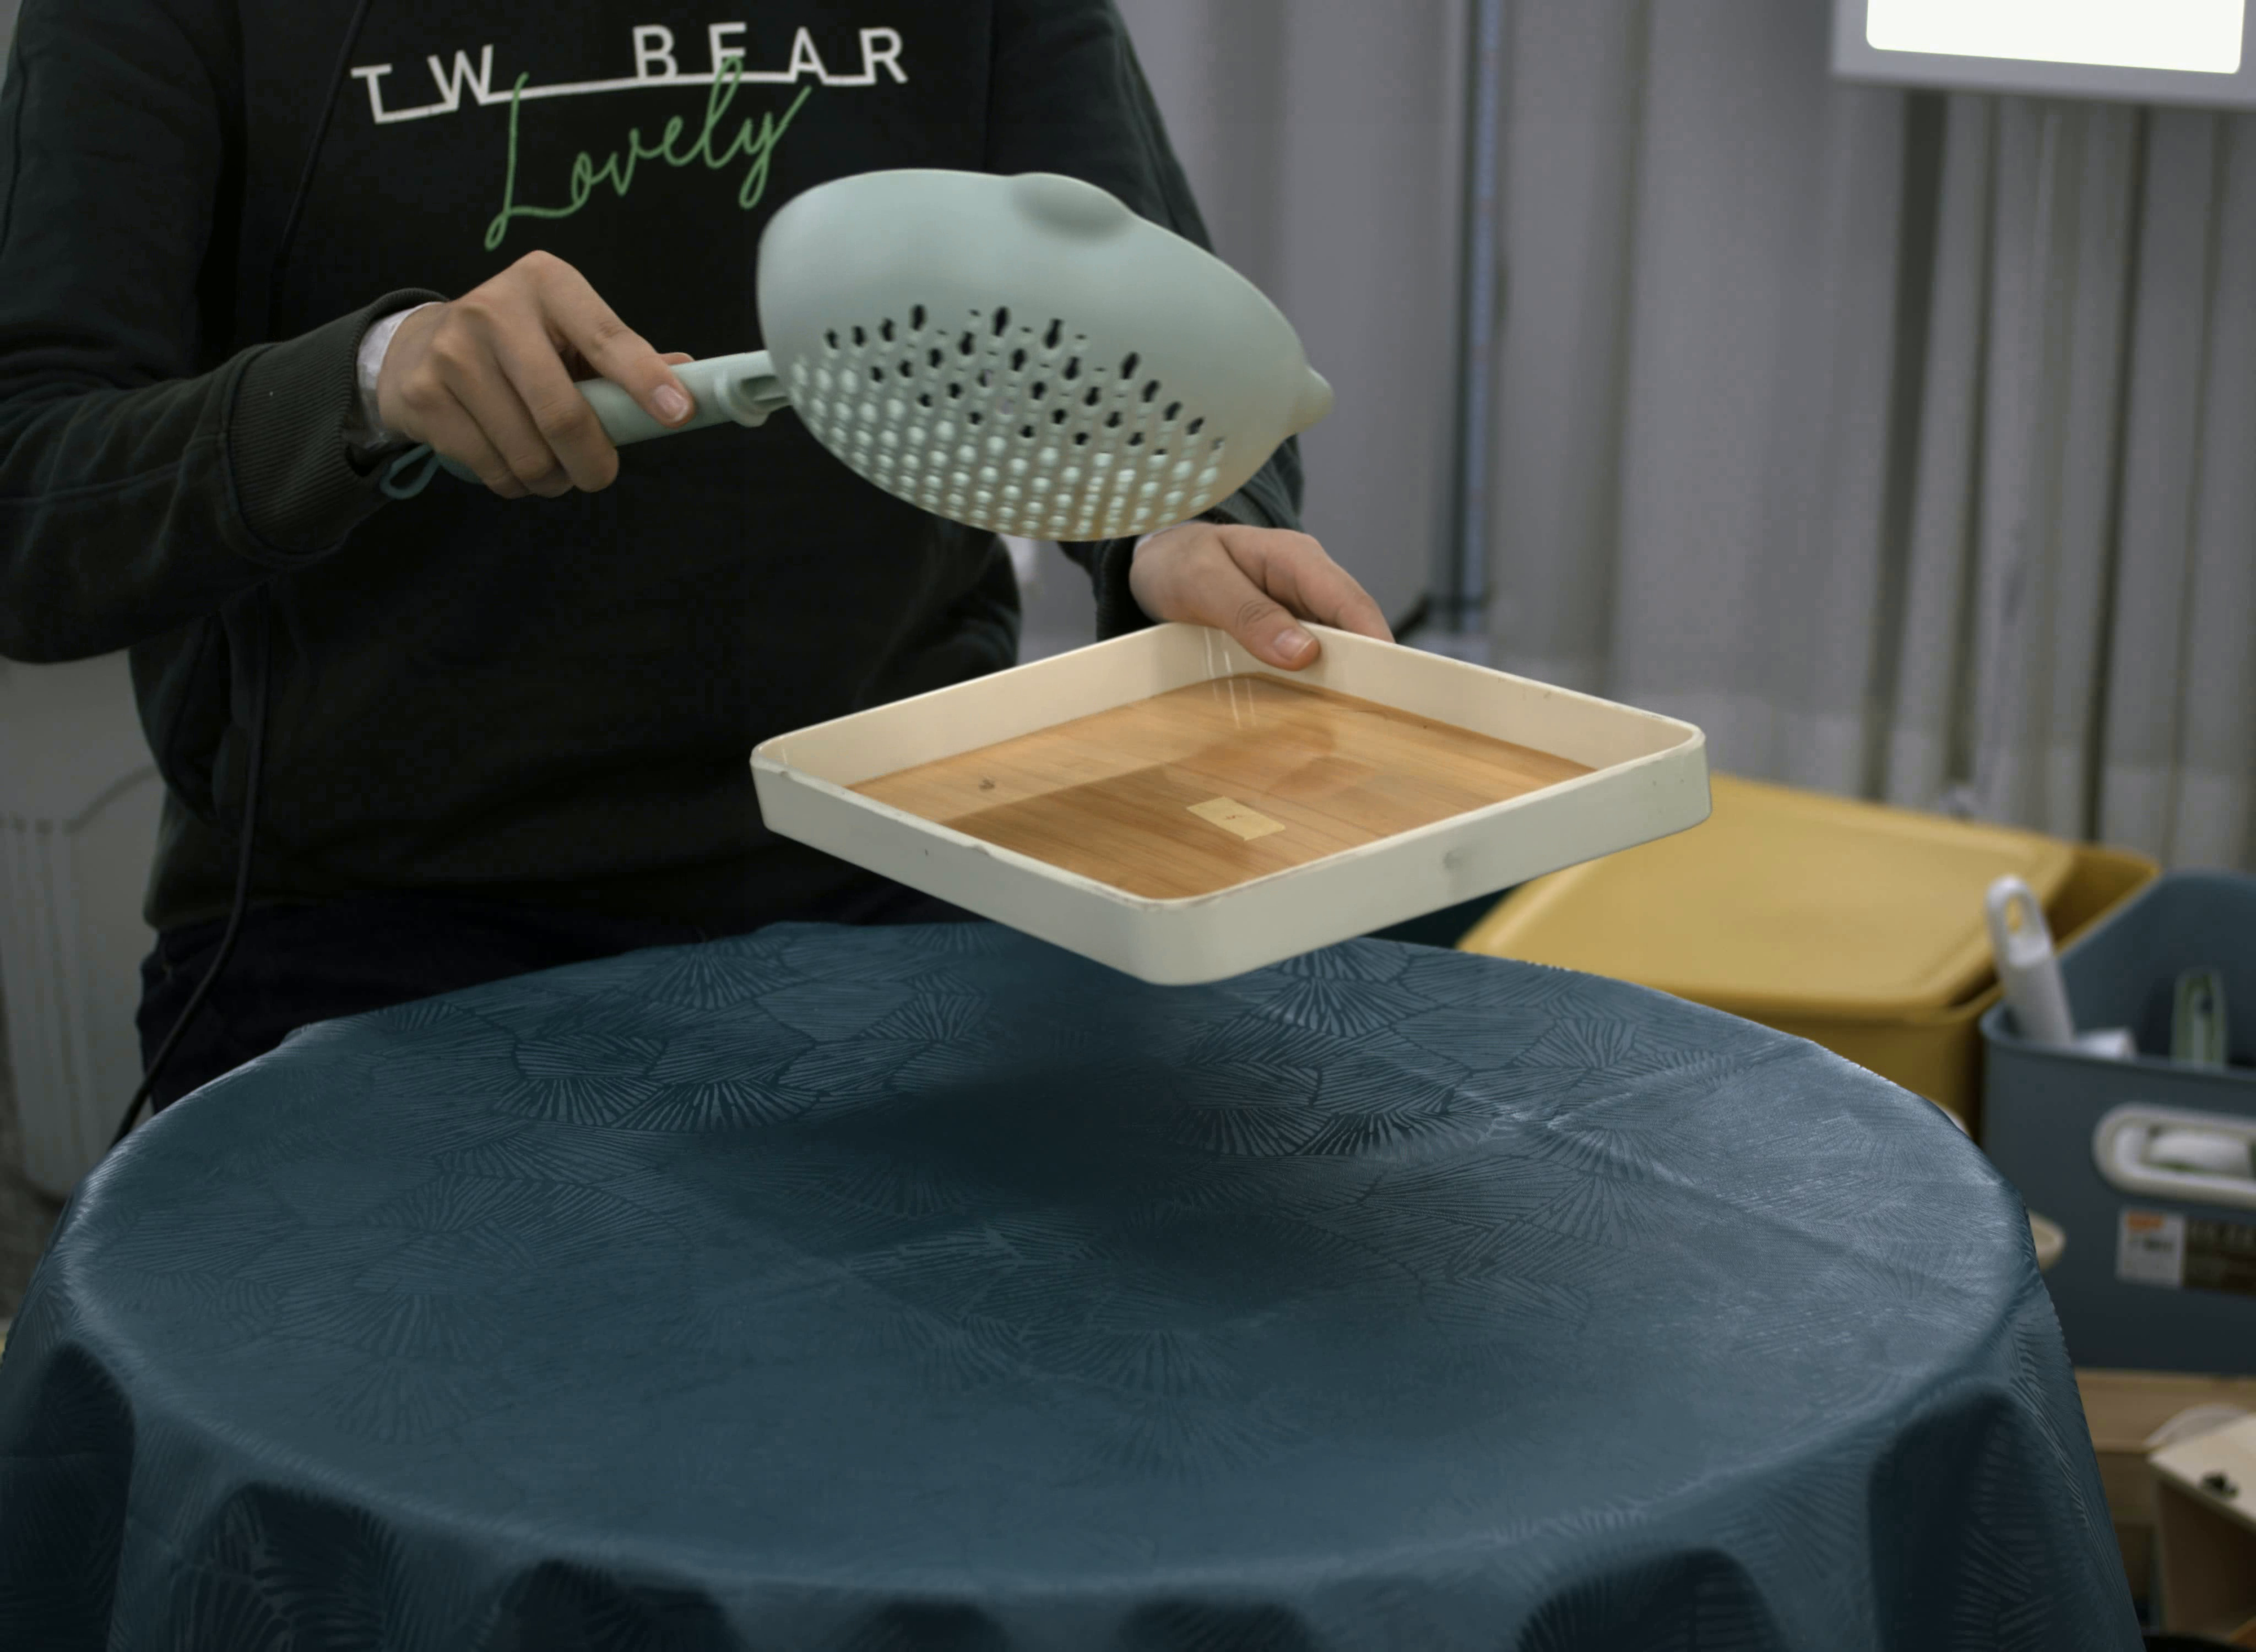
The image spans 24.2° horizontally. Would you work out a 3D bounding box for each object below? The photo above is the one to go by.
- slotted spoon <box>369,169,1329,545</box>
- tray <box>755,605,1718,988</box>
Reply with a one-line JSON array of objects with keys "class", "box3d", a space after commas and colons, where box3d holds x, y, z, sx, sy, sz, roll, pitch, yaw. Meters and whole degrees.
[{"class": "slotted spoon", "box3d": [-0.107, -0.131, 1.625, 0.354, 0.075, 0.171, 3, -24, 43]}, {"class": "tray", "box3d": [0.026, -0.014, 1.611, 0.192, 0.027, 0.297, -17, 18, -24]}]
